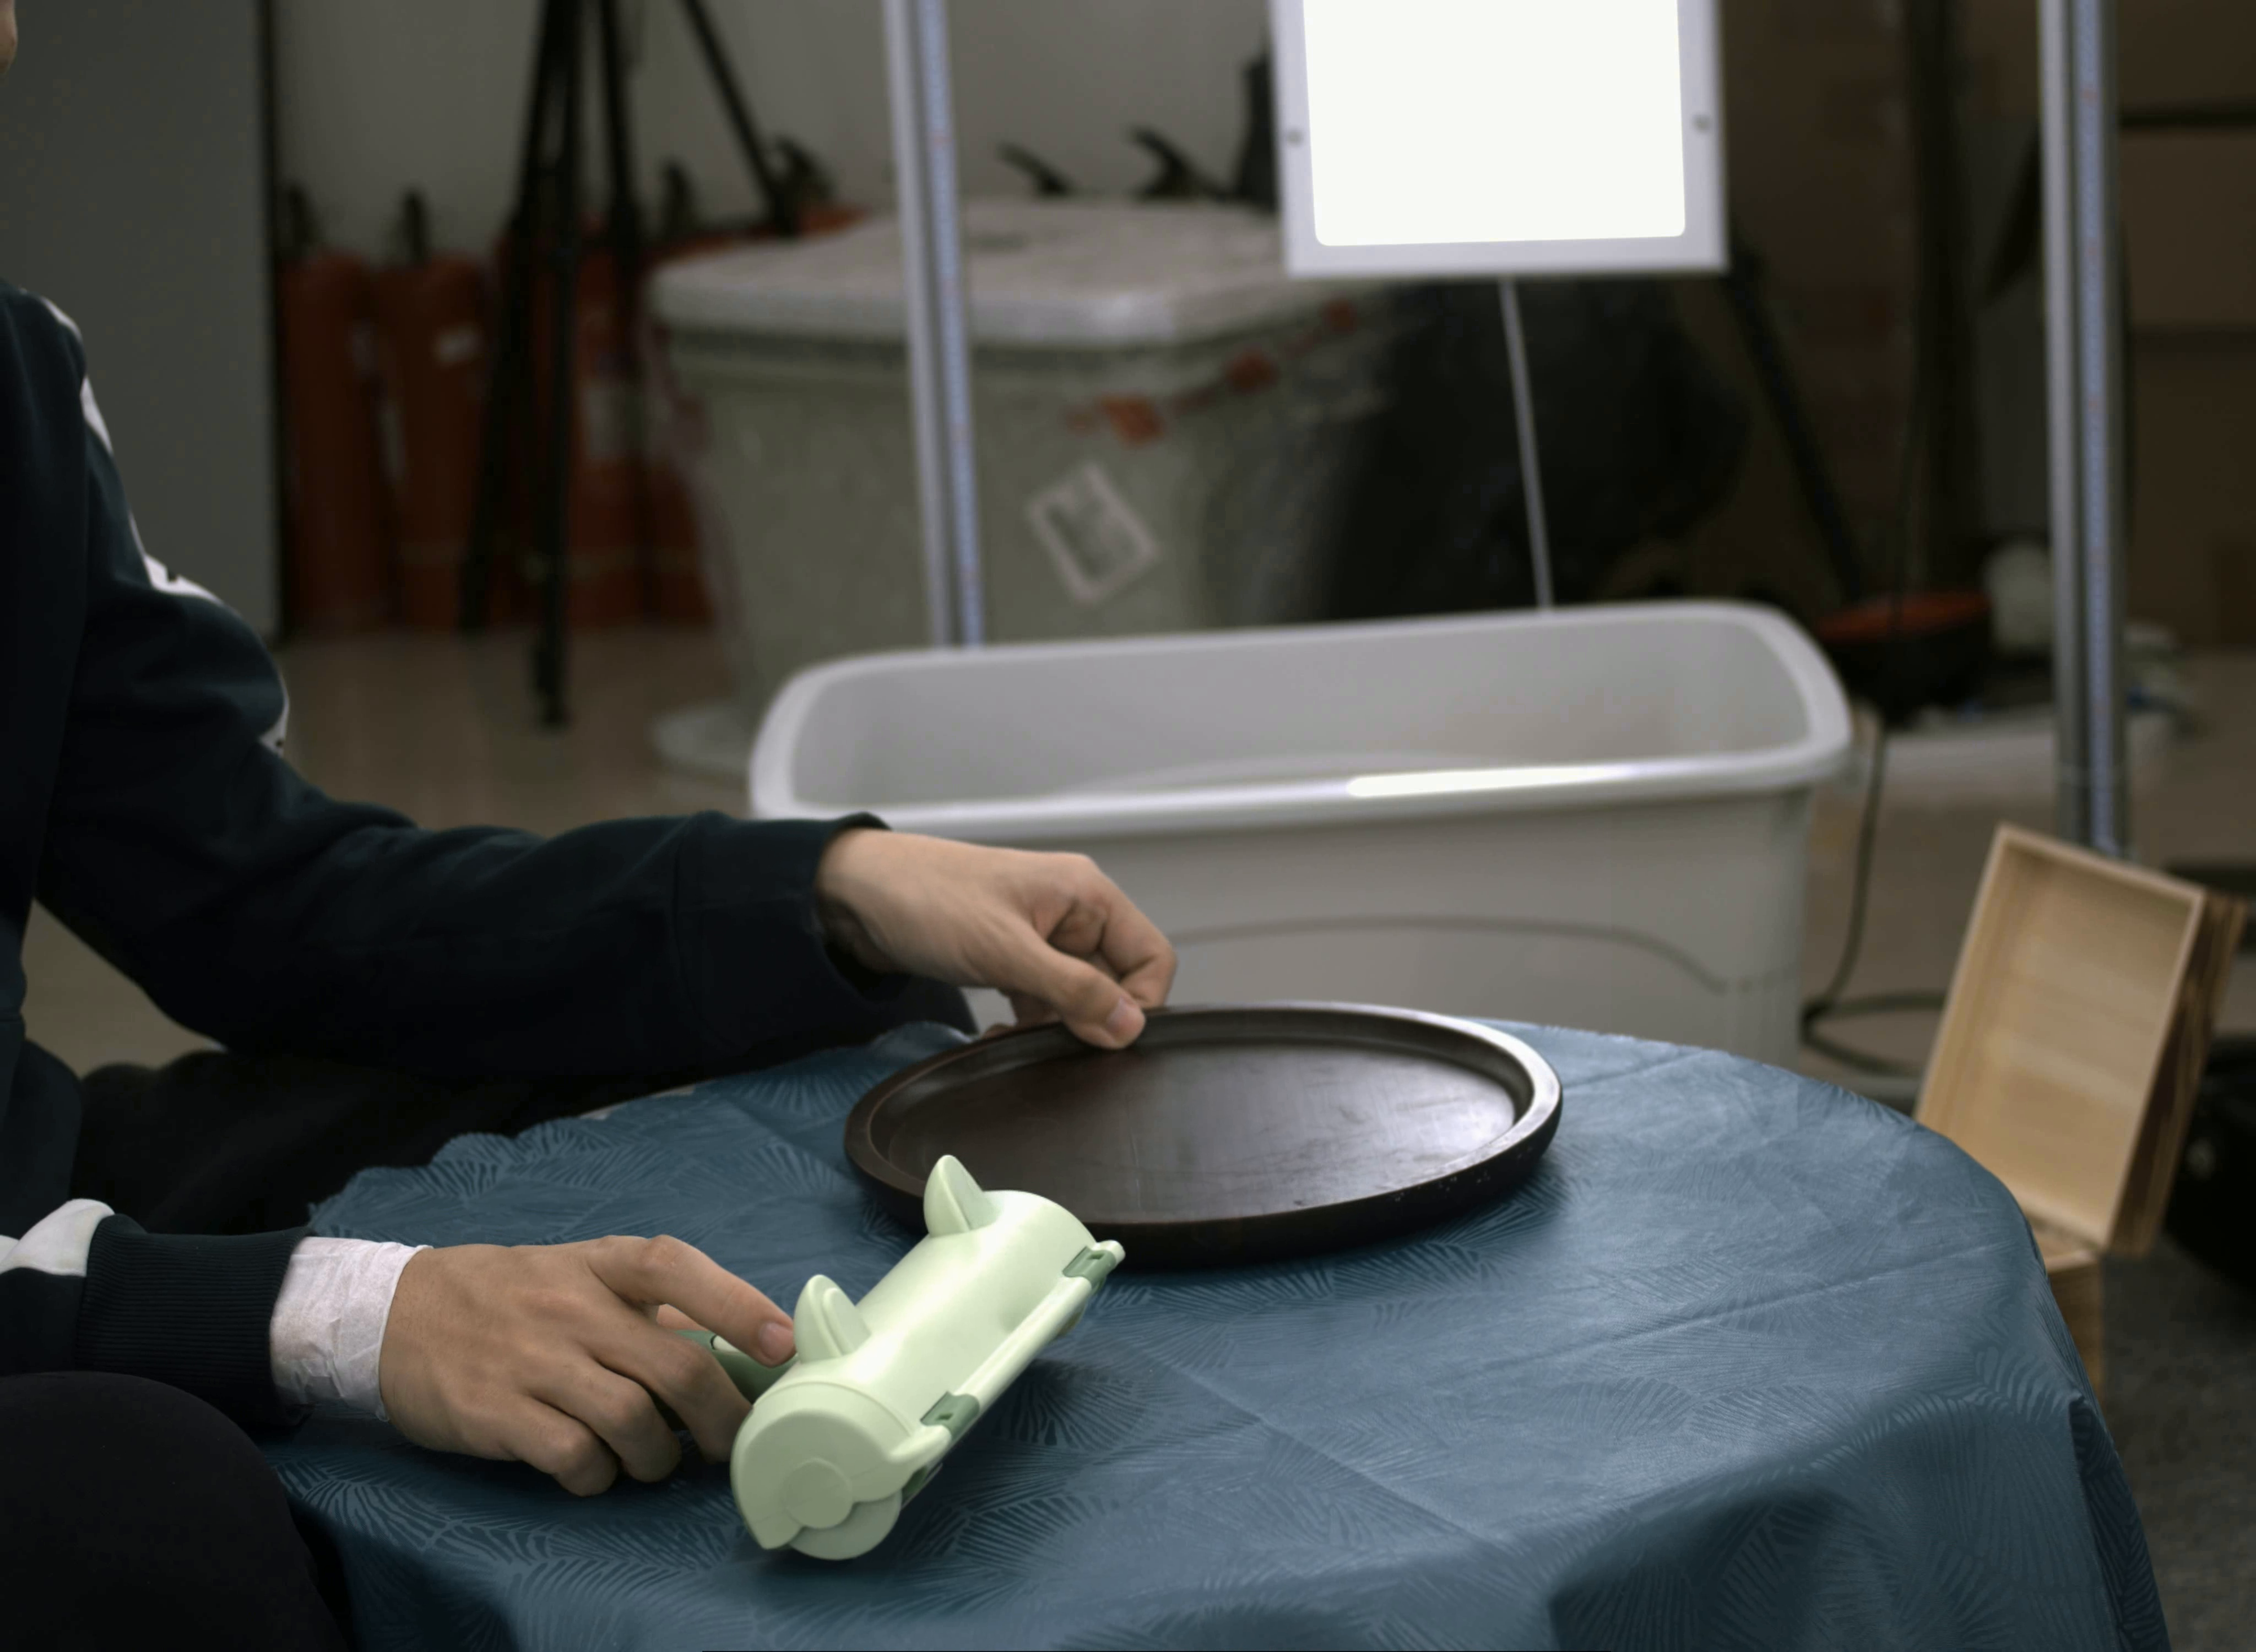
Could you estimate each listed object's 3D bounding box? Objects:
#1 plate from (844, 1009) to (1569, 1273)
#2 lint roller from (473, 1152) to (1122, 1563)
[{"bbox_3d":[0.028,0.107,1.913,0.254,0.029,0.254,-5,15,0],"label":"plate"},{"bbox_3d":[-0.114,0.152,1.664,0.185,0.082,0.195,3,16,18],"label":"lint roller"}]
